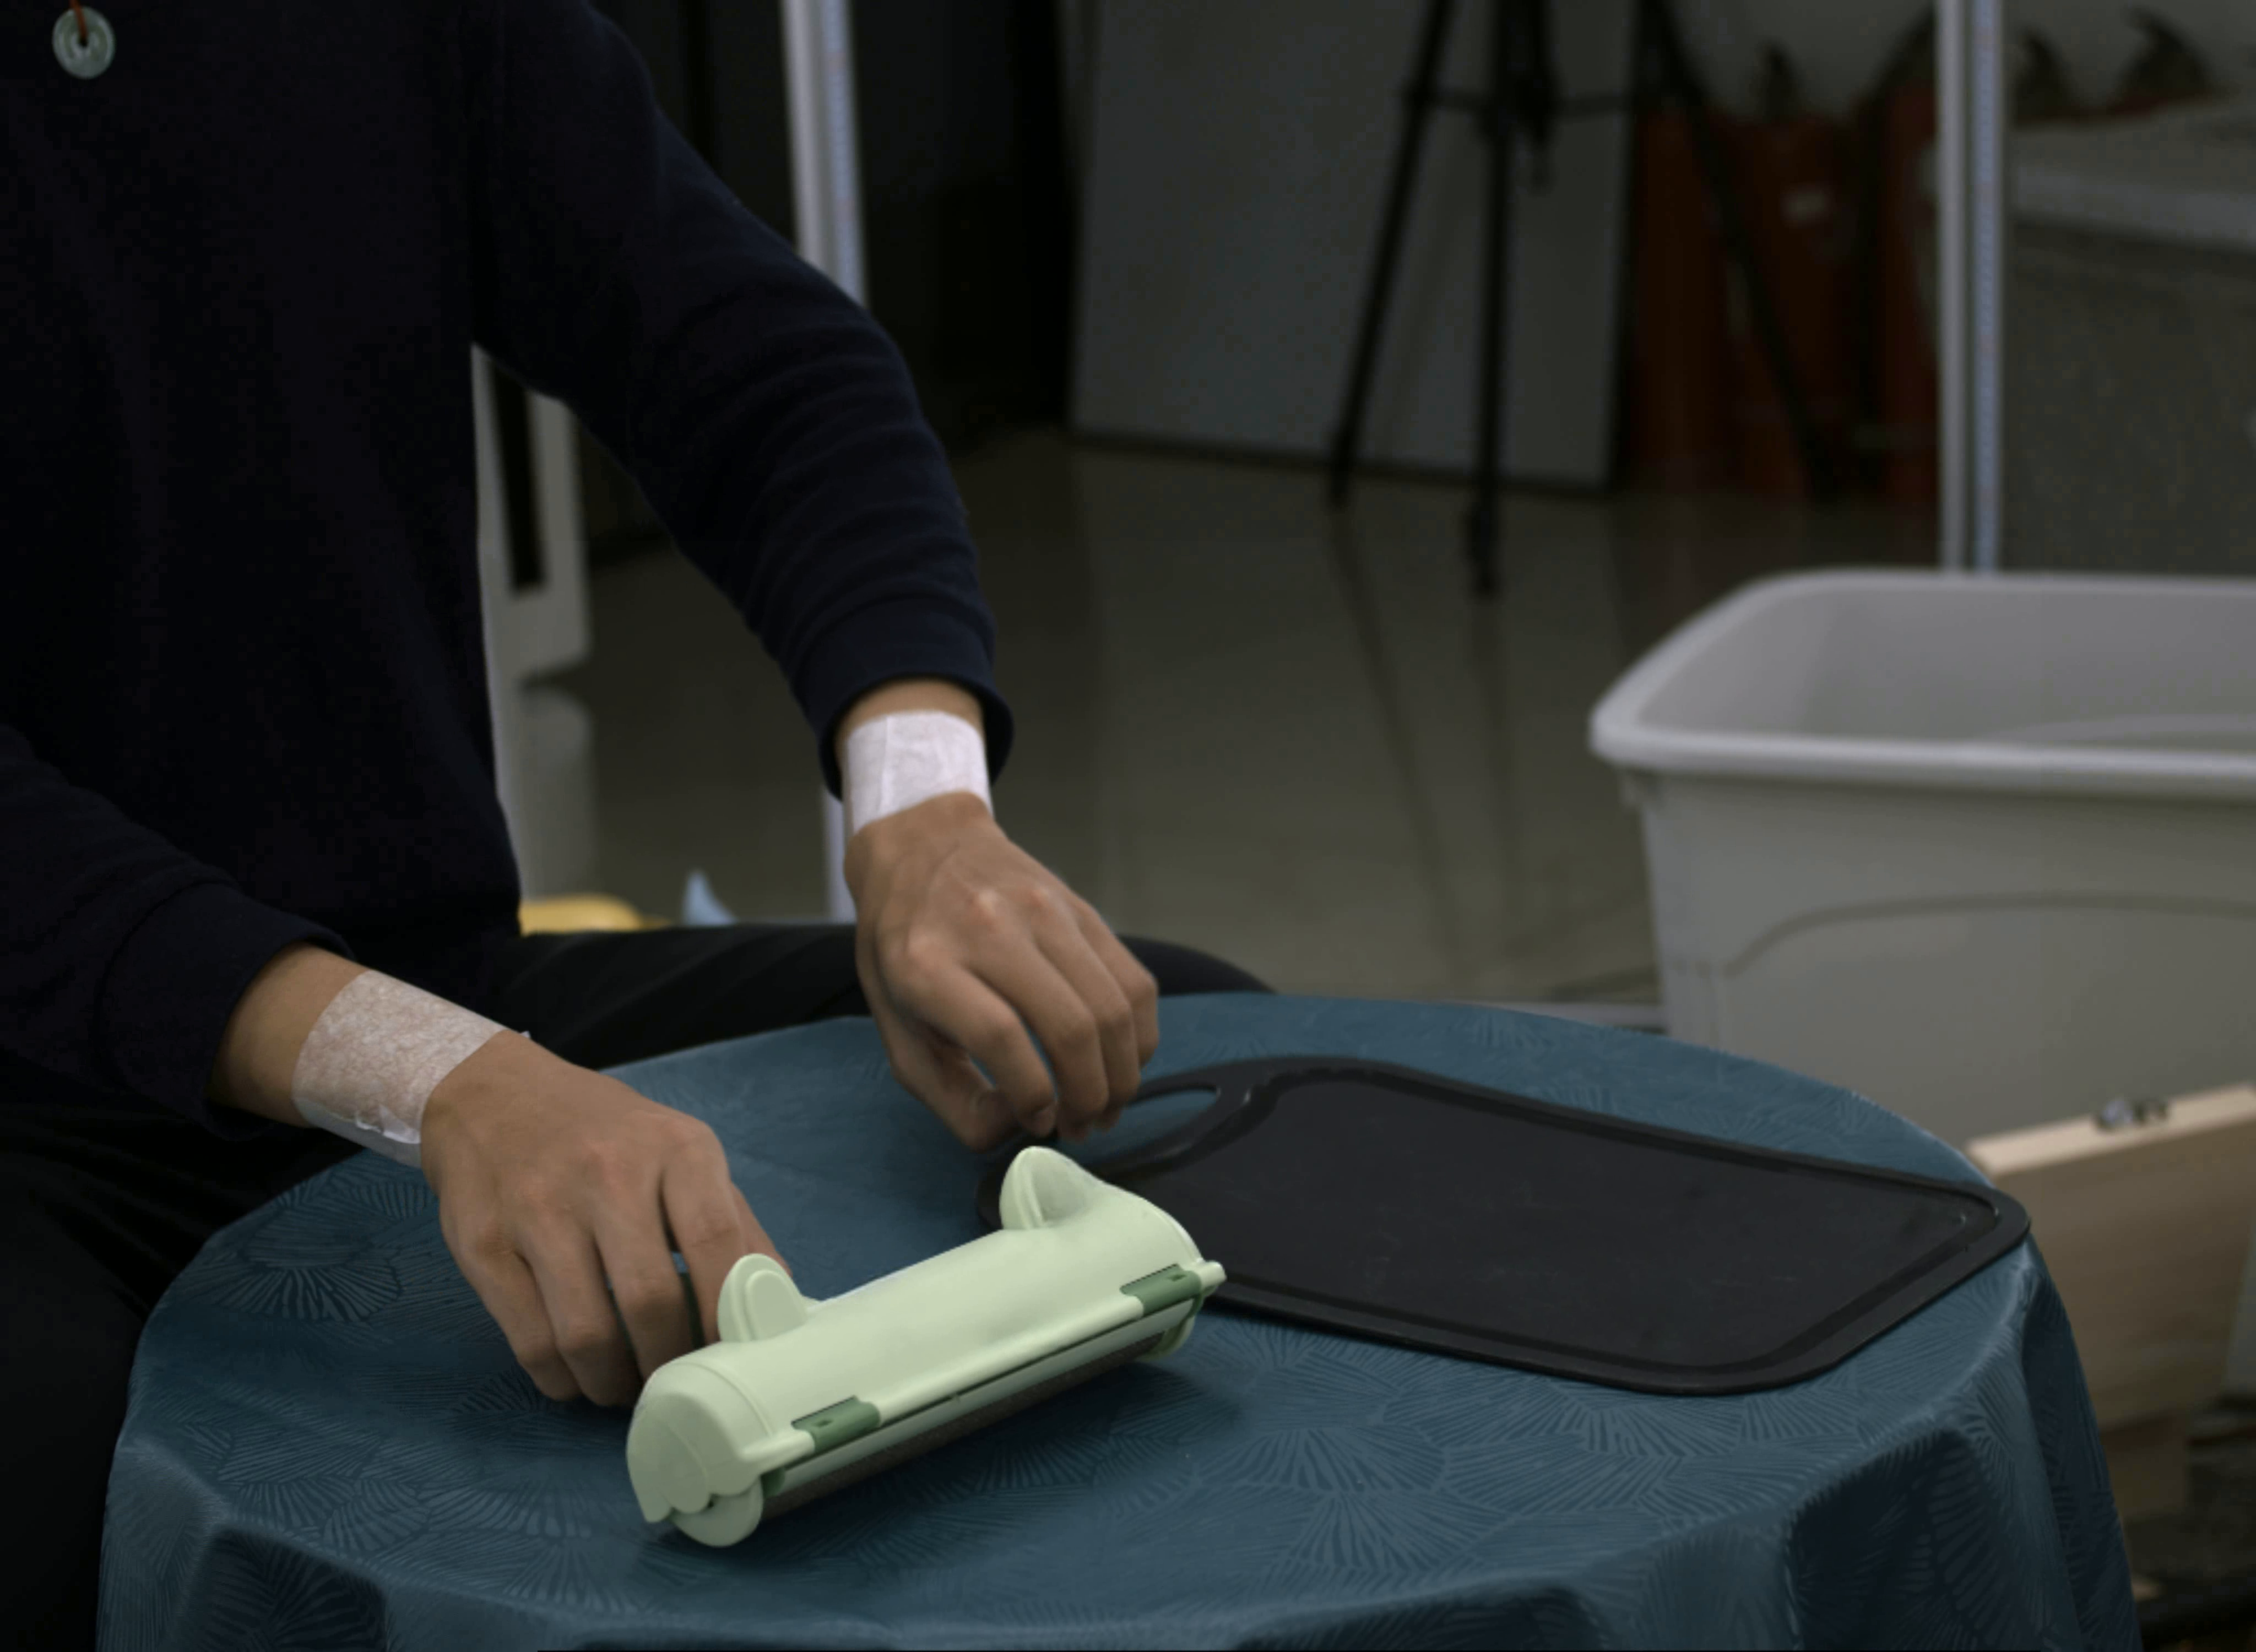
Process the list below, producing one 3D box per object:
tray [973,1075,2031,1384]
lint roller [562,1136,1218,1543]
[{"bbox_3d":[0.109,0.122,1.707,0.327,0.010,0.207,8,18,36],"label":"tray"},{"bbox_3d":[-0.100,0.132,1.574,0.185,0.083,0.194,17,23,40],"label":"lint roller"}]
